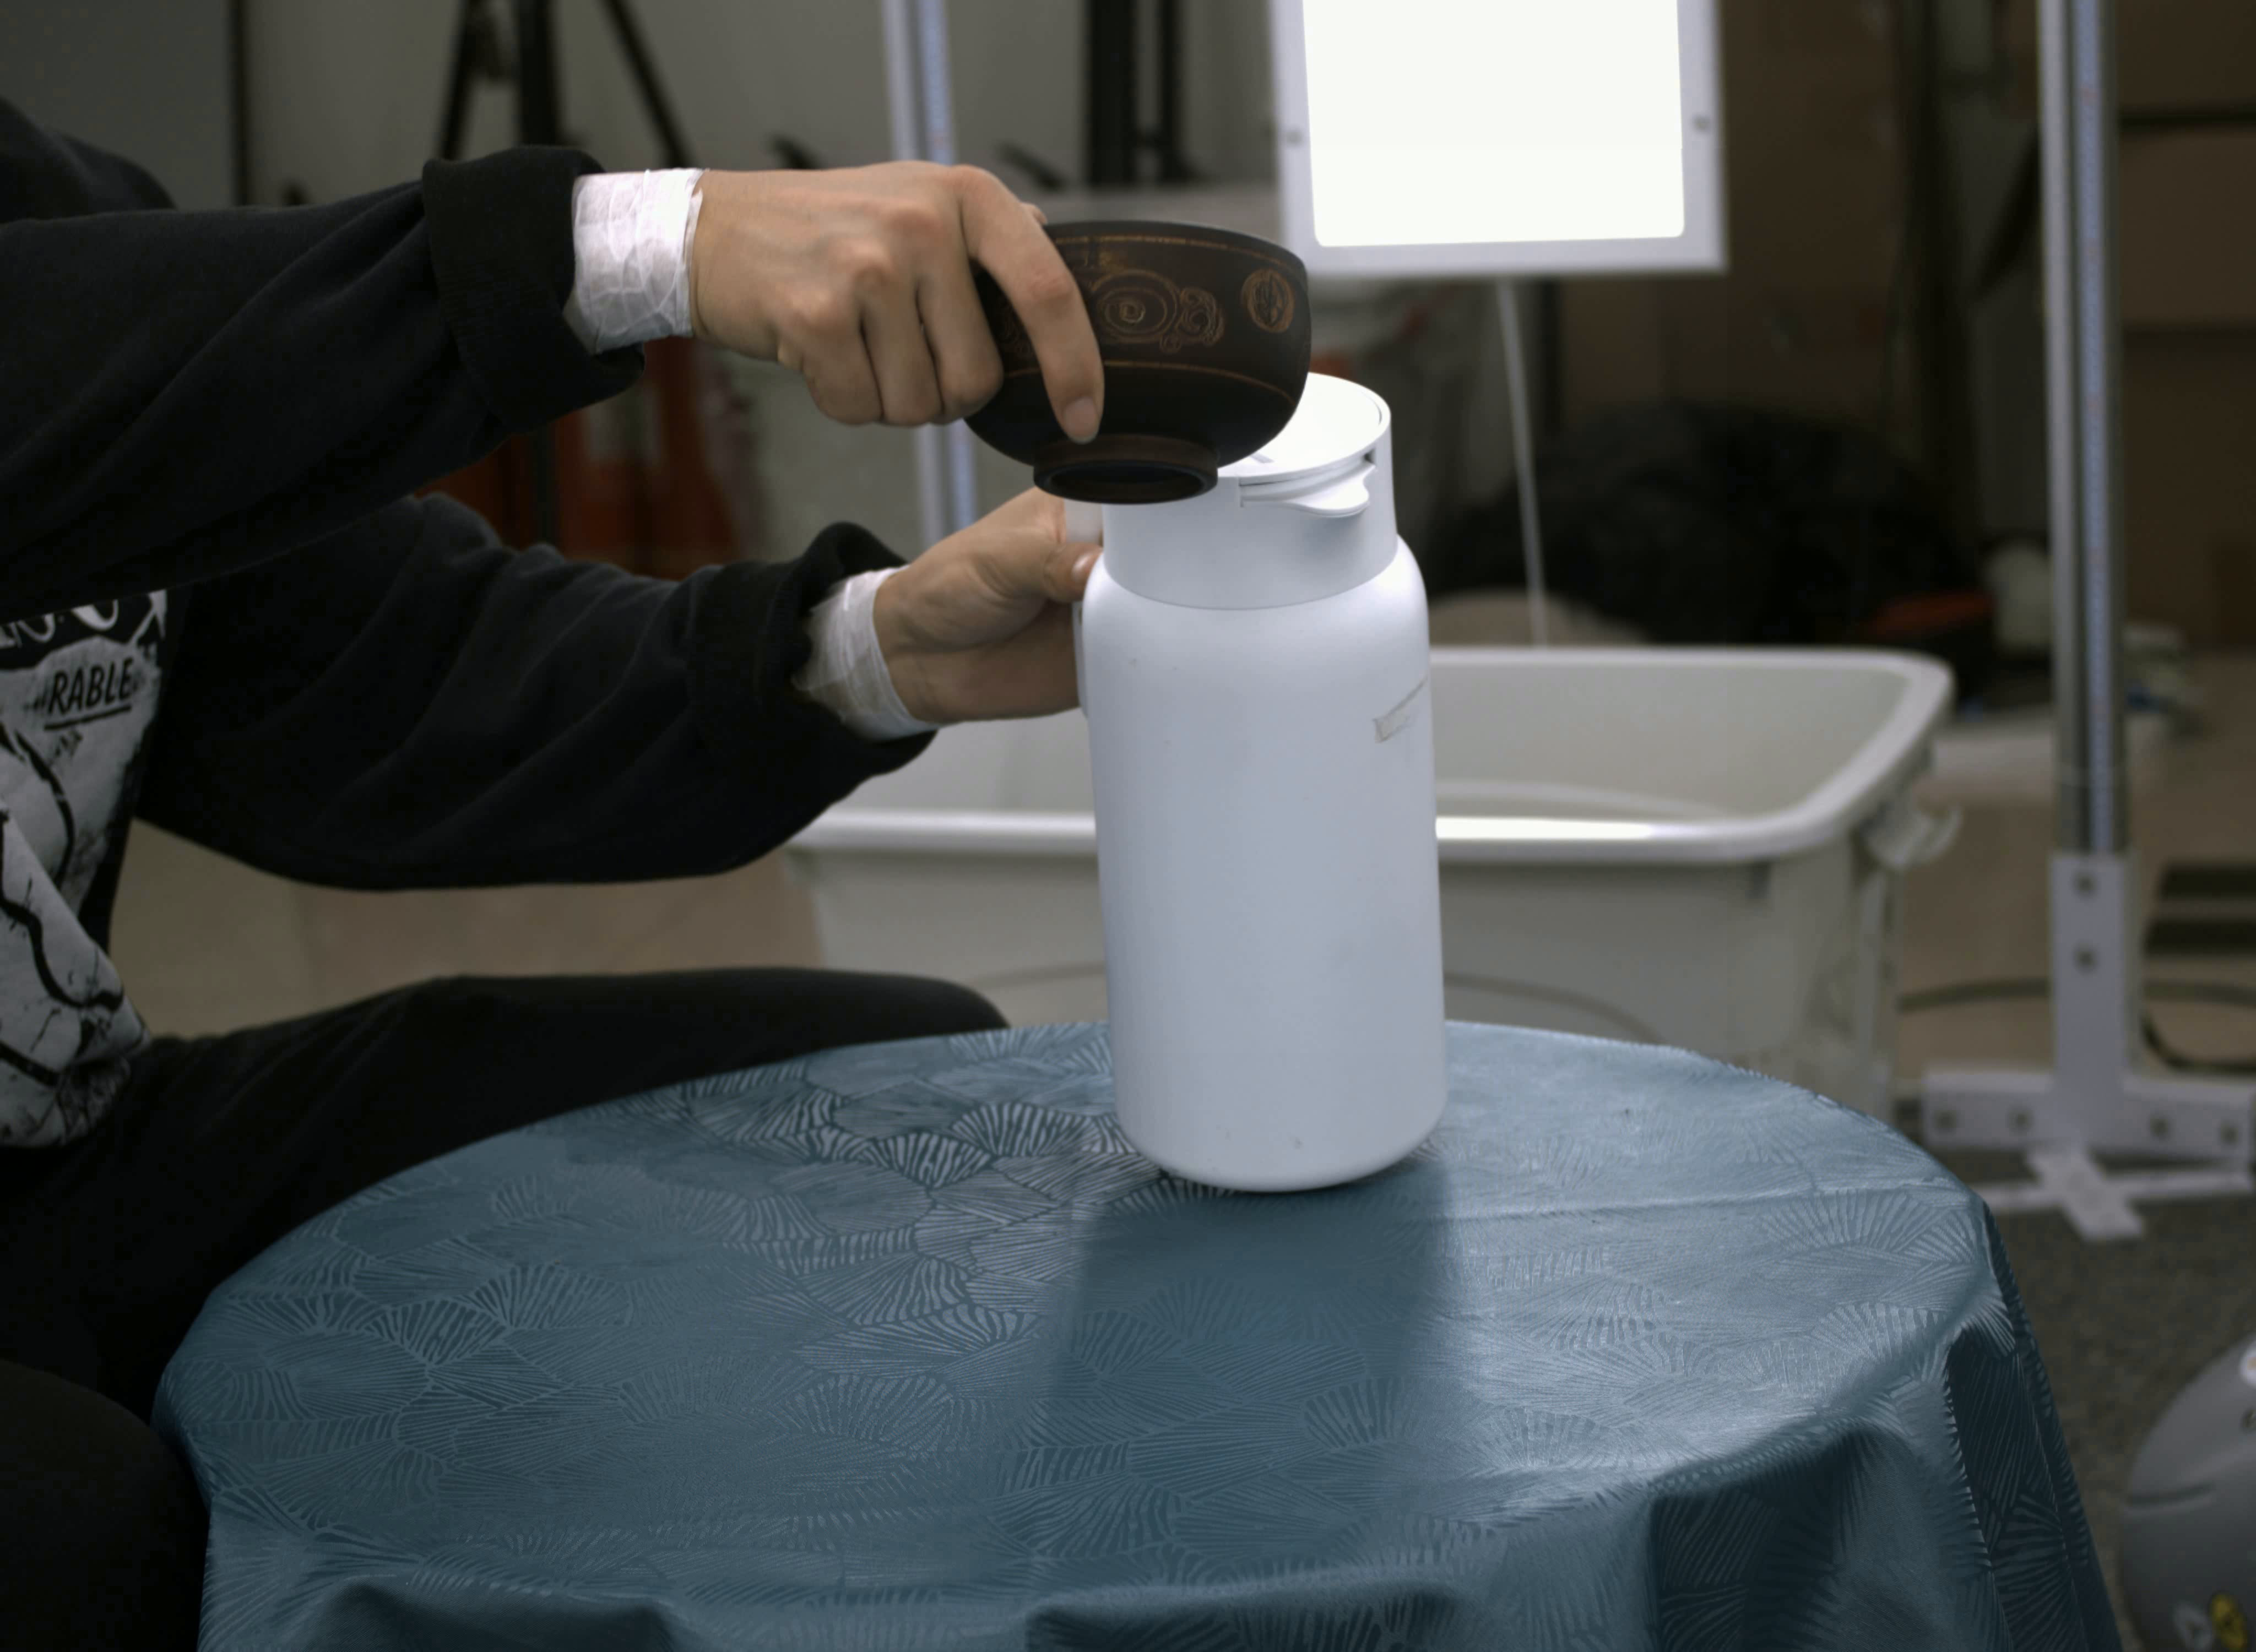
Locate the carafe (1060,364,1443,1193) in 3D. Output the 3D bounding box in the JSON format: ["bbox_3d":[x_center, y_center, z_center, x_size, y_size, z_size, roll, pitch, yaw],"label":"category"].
[{"bbox_3d":[0.036,-0.021,1.886,0.121,0.270,0.175,-19,29,-25],"label":"carafe"}]

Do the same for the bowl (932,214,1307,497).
[{"bbox_3d":[-0.002,-0.142,1.706,0.117,0.070,0.118,0,-10,-1],"label":"bowl"}]
